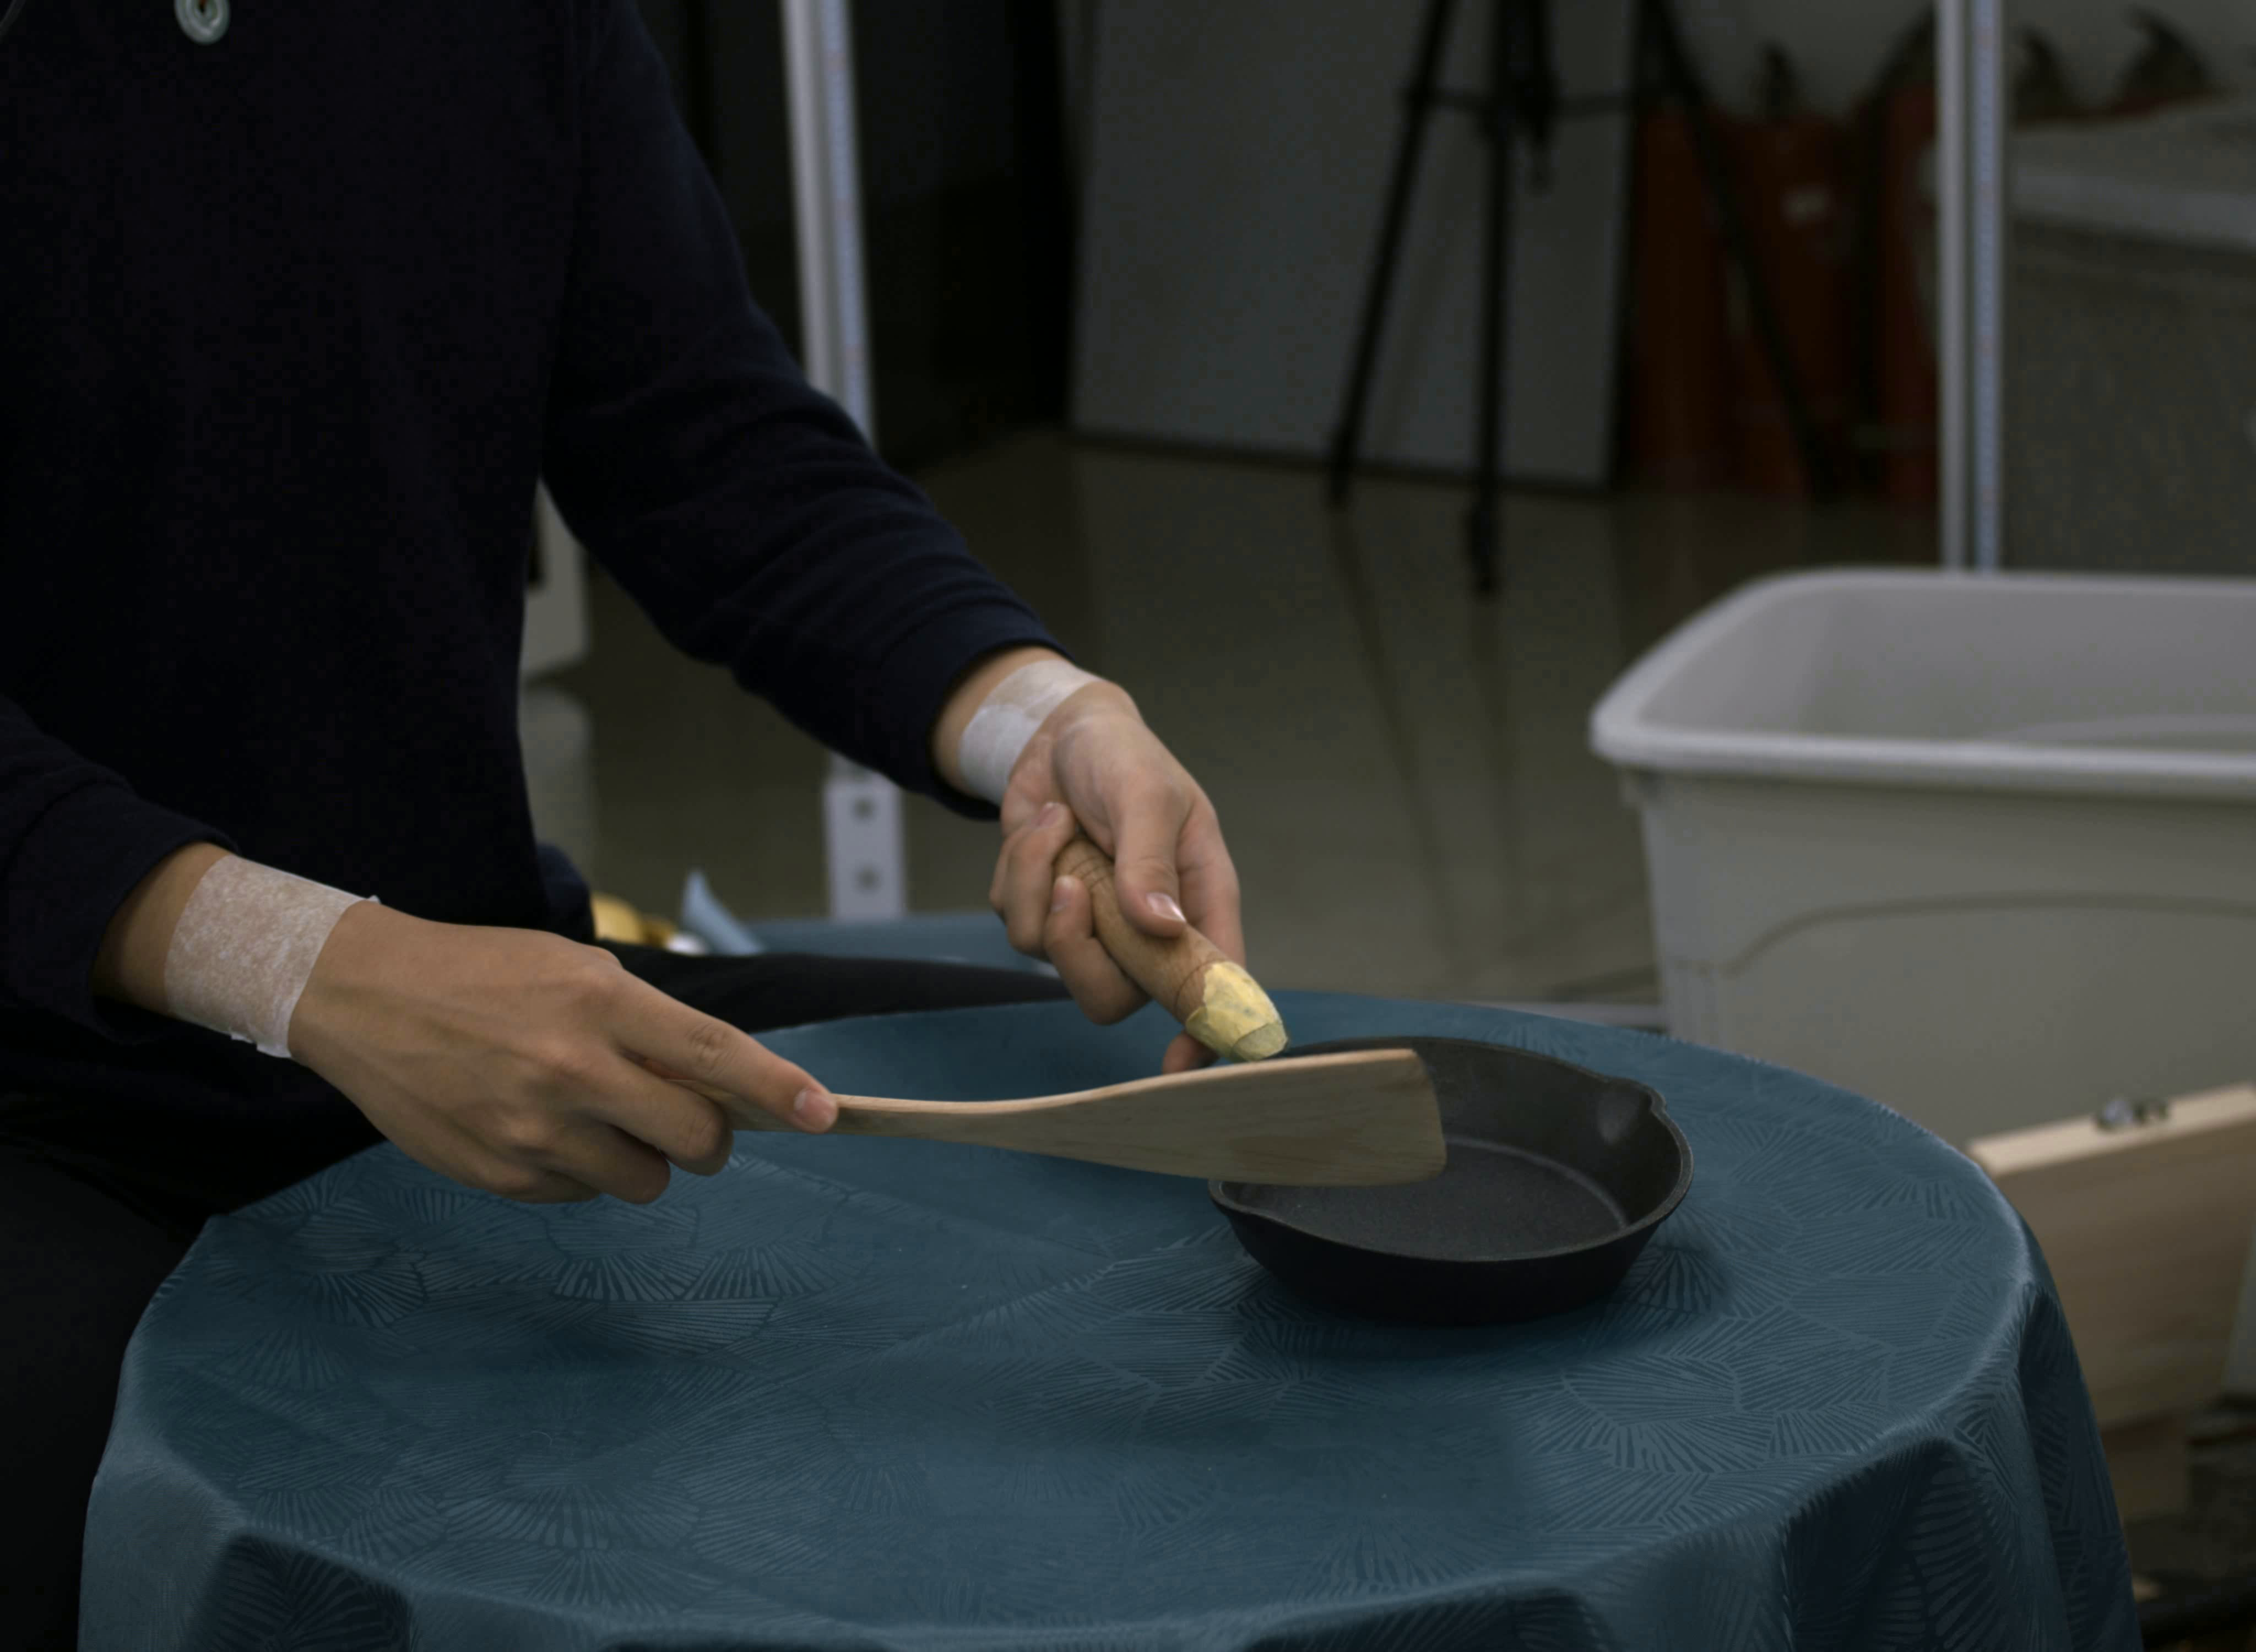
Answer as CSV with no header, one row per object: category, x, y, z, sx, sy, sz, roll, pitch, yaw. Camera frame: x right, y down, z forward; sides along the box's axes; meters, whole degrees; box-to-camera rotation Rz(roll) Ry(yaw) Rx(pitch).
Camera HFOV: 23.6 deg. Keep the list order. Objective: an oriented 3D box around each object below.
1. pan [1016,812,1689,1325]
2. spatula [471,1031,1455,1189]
pan,0.053,0.074,1.735,0.165,0.050,0.328,-11,27,-29
spatula,-0.053,0.085,1.617,0.328,0.079,0.016,0,56,25
